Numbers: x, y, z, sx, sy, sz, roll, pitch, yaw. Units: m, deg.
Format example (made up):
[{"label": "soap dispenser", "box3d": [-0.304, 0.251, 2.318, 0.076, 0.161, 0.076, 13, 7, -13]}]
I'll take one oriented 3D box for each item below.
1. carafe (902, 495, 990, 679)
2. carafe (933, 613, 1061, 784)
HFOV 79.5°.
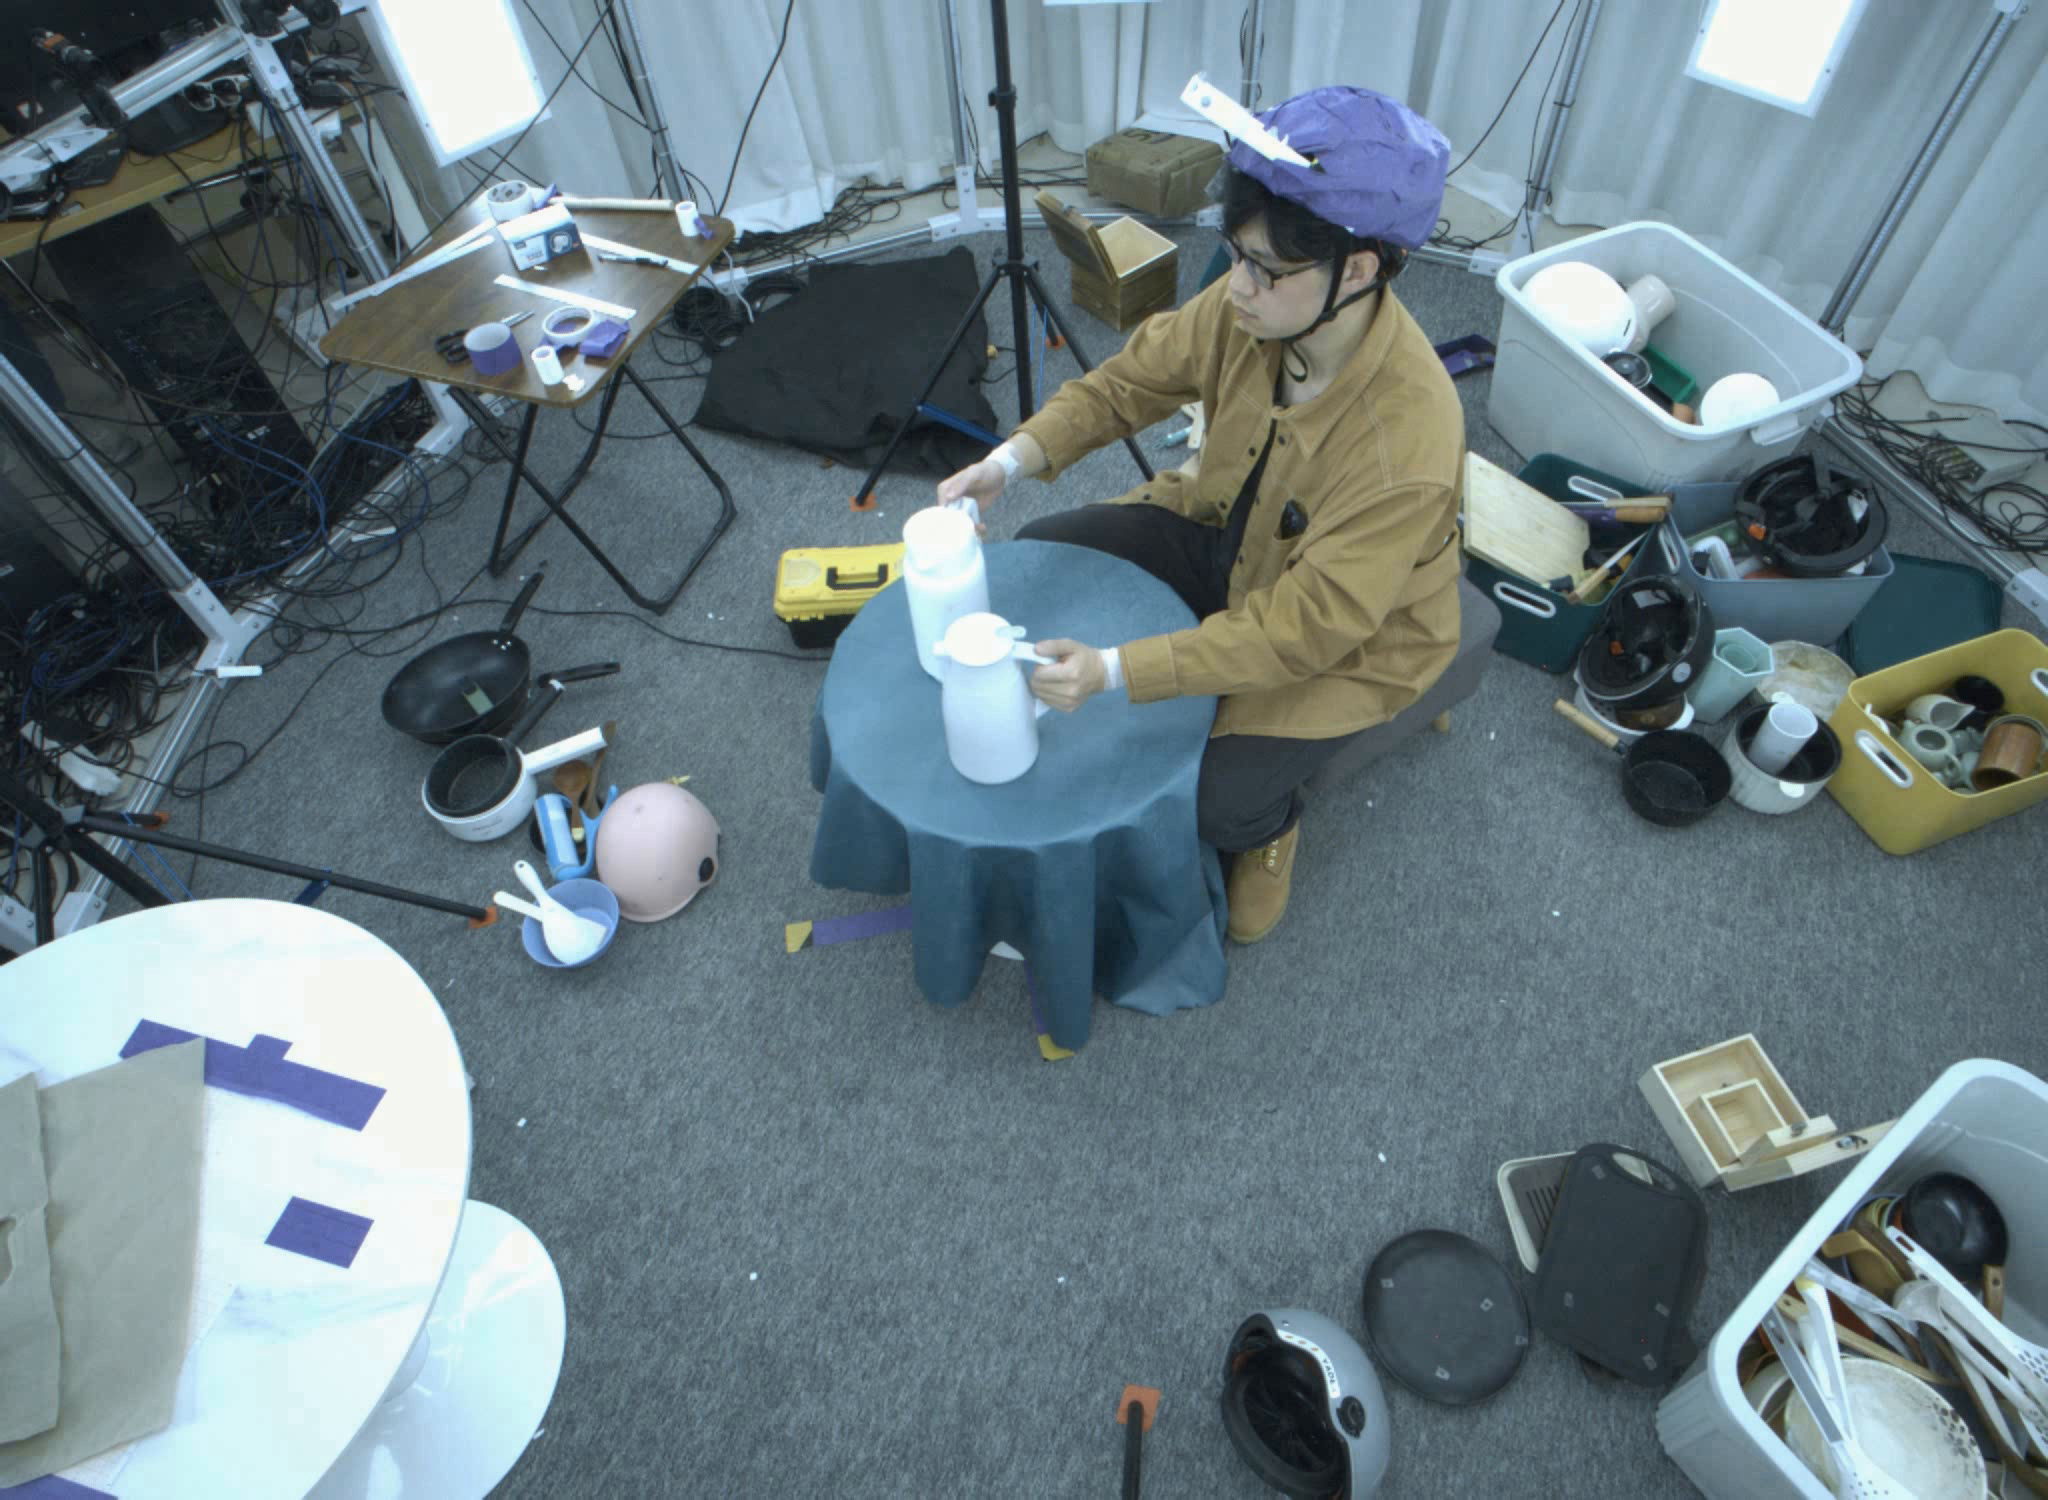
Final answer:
[{"label": "carafe", "box3d": [-0.108, -0.239, 1.792, 0.122, 0.272, 0.172, 13, 56, 15]}, {"label": "carafe", "box3d": [-0.033, -0.079, 1.687, 0.168, 0.251, 0.131, -4, 54, -1]}]
